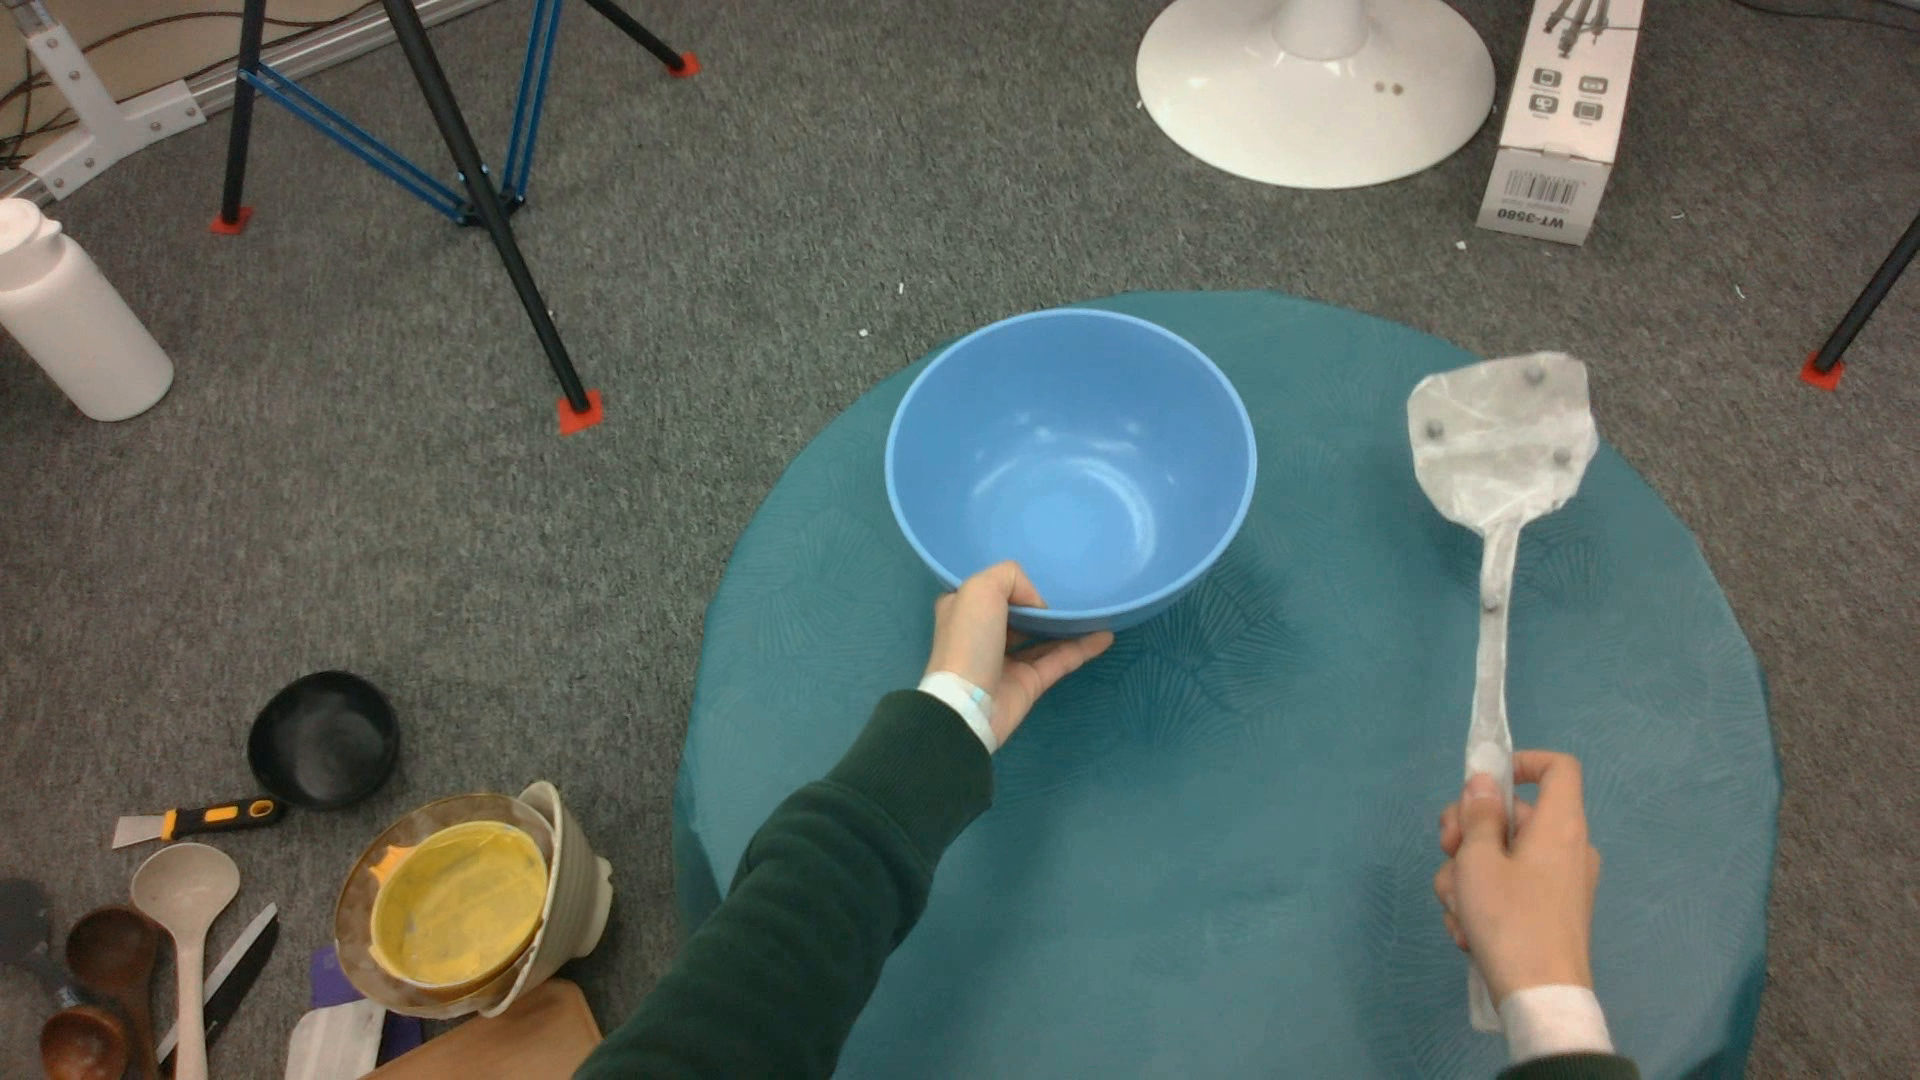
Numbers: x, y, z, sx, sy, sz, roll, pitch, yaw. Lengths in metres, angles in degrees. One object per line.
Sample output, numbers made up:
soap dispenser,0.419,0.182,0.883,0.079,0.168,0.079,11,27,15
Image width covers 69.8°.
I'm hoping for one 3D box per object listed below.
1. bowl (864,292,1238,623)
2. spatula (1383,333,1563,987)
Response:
bowl,0.049,-0.032,0.763,0.196,0.095,0.197,-1,59,1
spatula,0.254,0.042,0.701,0.098,0.044,0.366,-6,50,32
